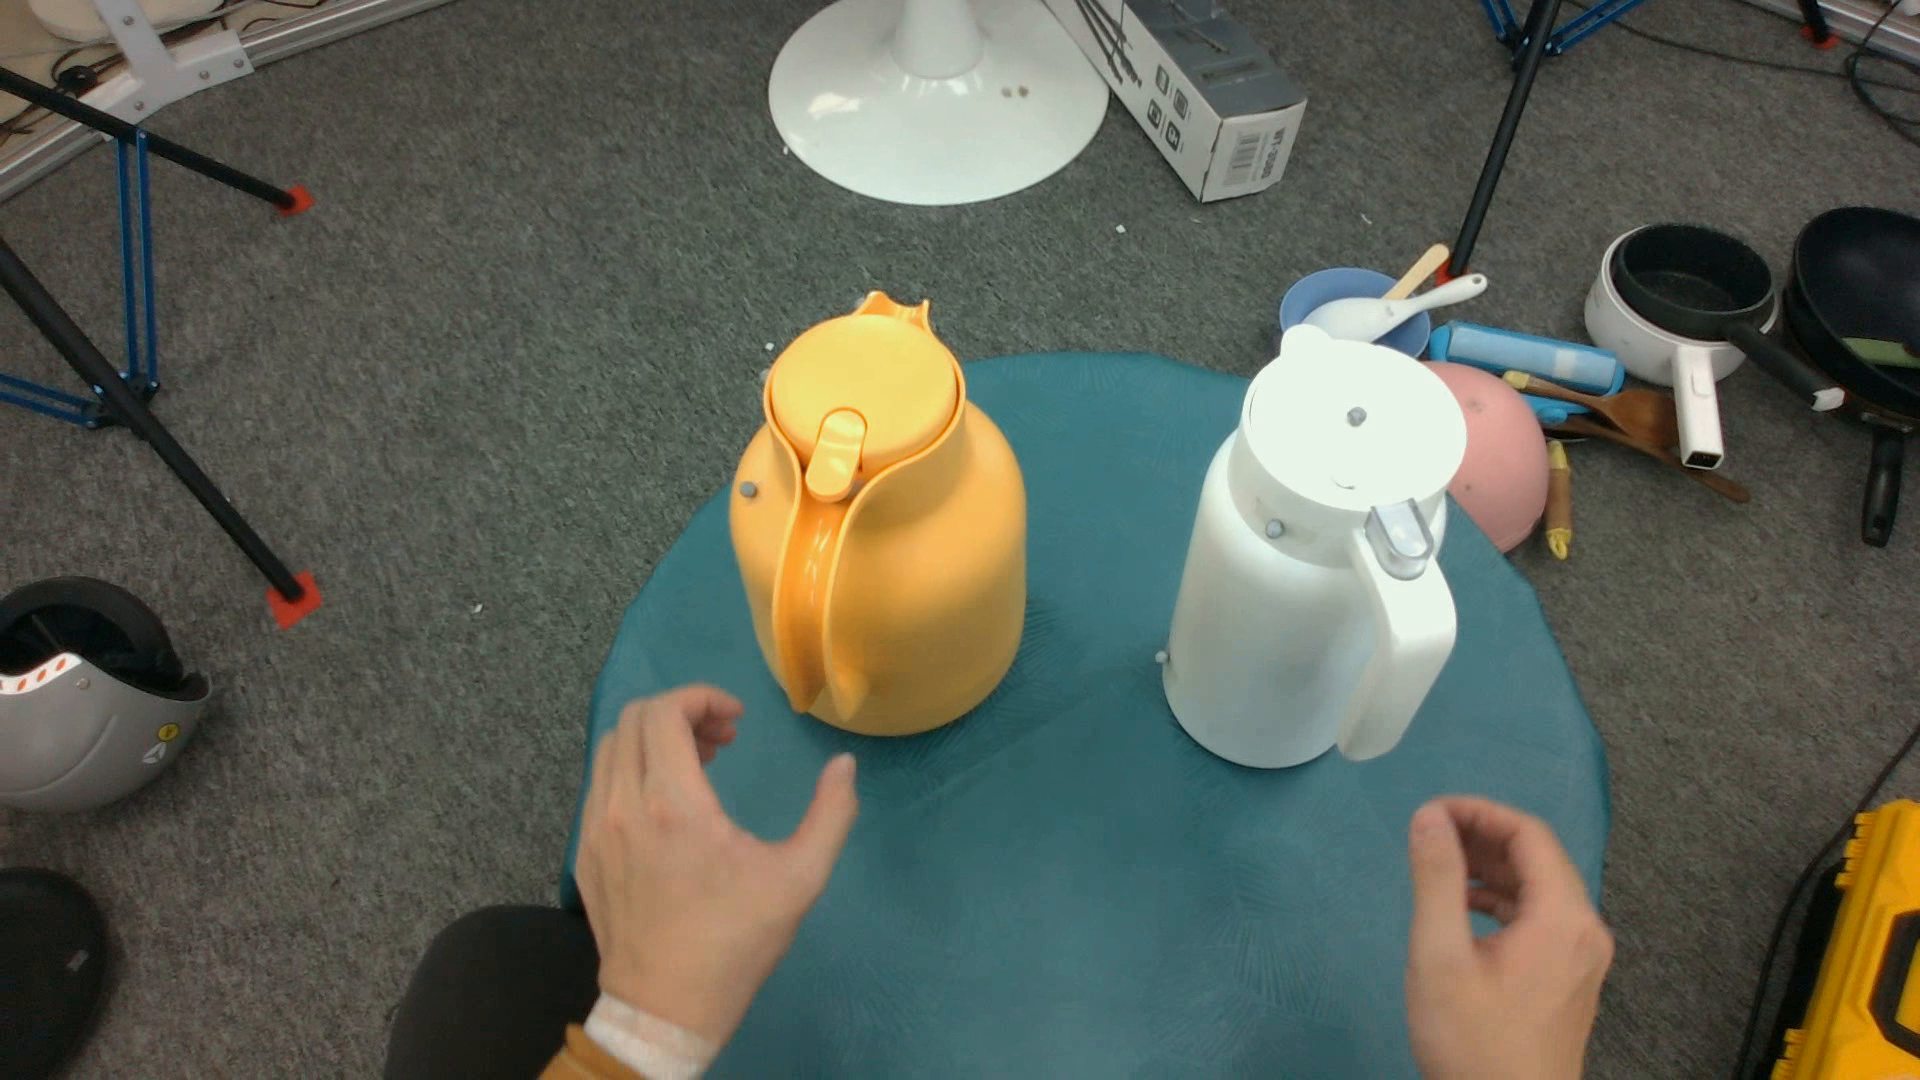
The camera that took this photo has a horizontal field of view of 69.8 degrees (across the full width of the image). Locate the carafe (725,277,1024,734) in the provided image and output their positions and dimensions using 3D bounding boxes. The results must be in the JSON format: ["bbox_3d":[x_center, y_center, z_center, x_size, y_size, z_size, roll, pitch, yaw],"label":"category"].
[{"bbox_3d":[-0.052,0.001,0.742,0.163,0.259,0.203,12,56,11],"label":"carafe"}]

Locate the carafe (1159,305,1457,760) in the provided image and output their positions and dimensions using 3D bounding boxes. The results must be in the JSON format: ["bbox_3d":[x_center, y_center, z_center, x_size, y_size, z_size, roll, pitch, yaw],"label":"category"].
[{"bbox_3d":[0.182,0.026,0.722,0.124,0.267,0.173,-11,58,-8],"label":"carafe"}]
